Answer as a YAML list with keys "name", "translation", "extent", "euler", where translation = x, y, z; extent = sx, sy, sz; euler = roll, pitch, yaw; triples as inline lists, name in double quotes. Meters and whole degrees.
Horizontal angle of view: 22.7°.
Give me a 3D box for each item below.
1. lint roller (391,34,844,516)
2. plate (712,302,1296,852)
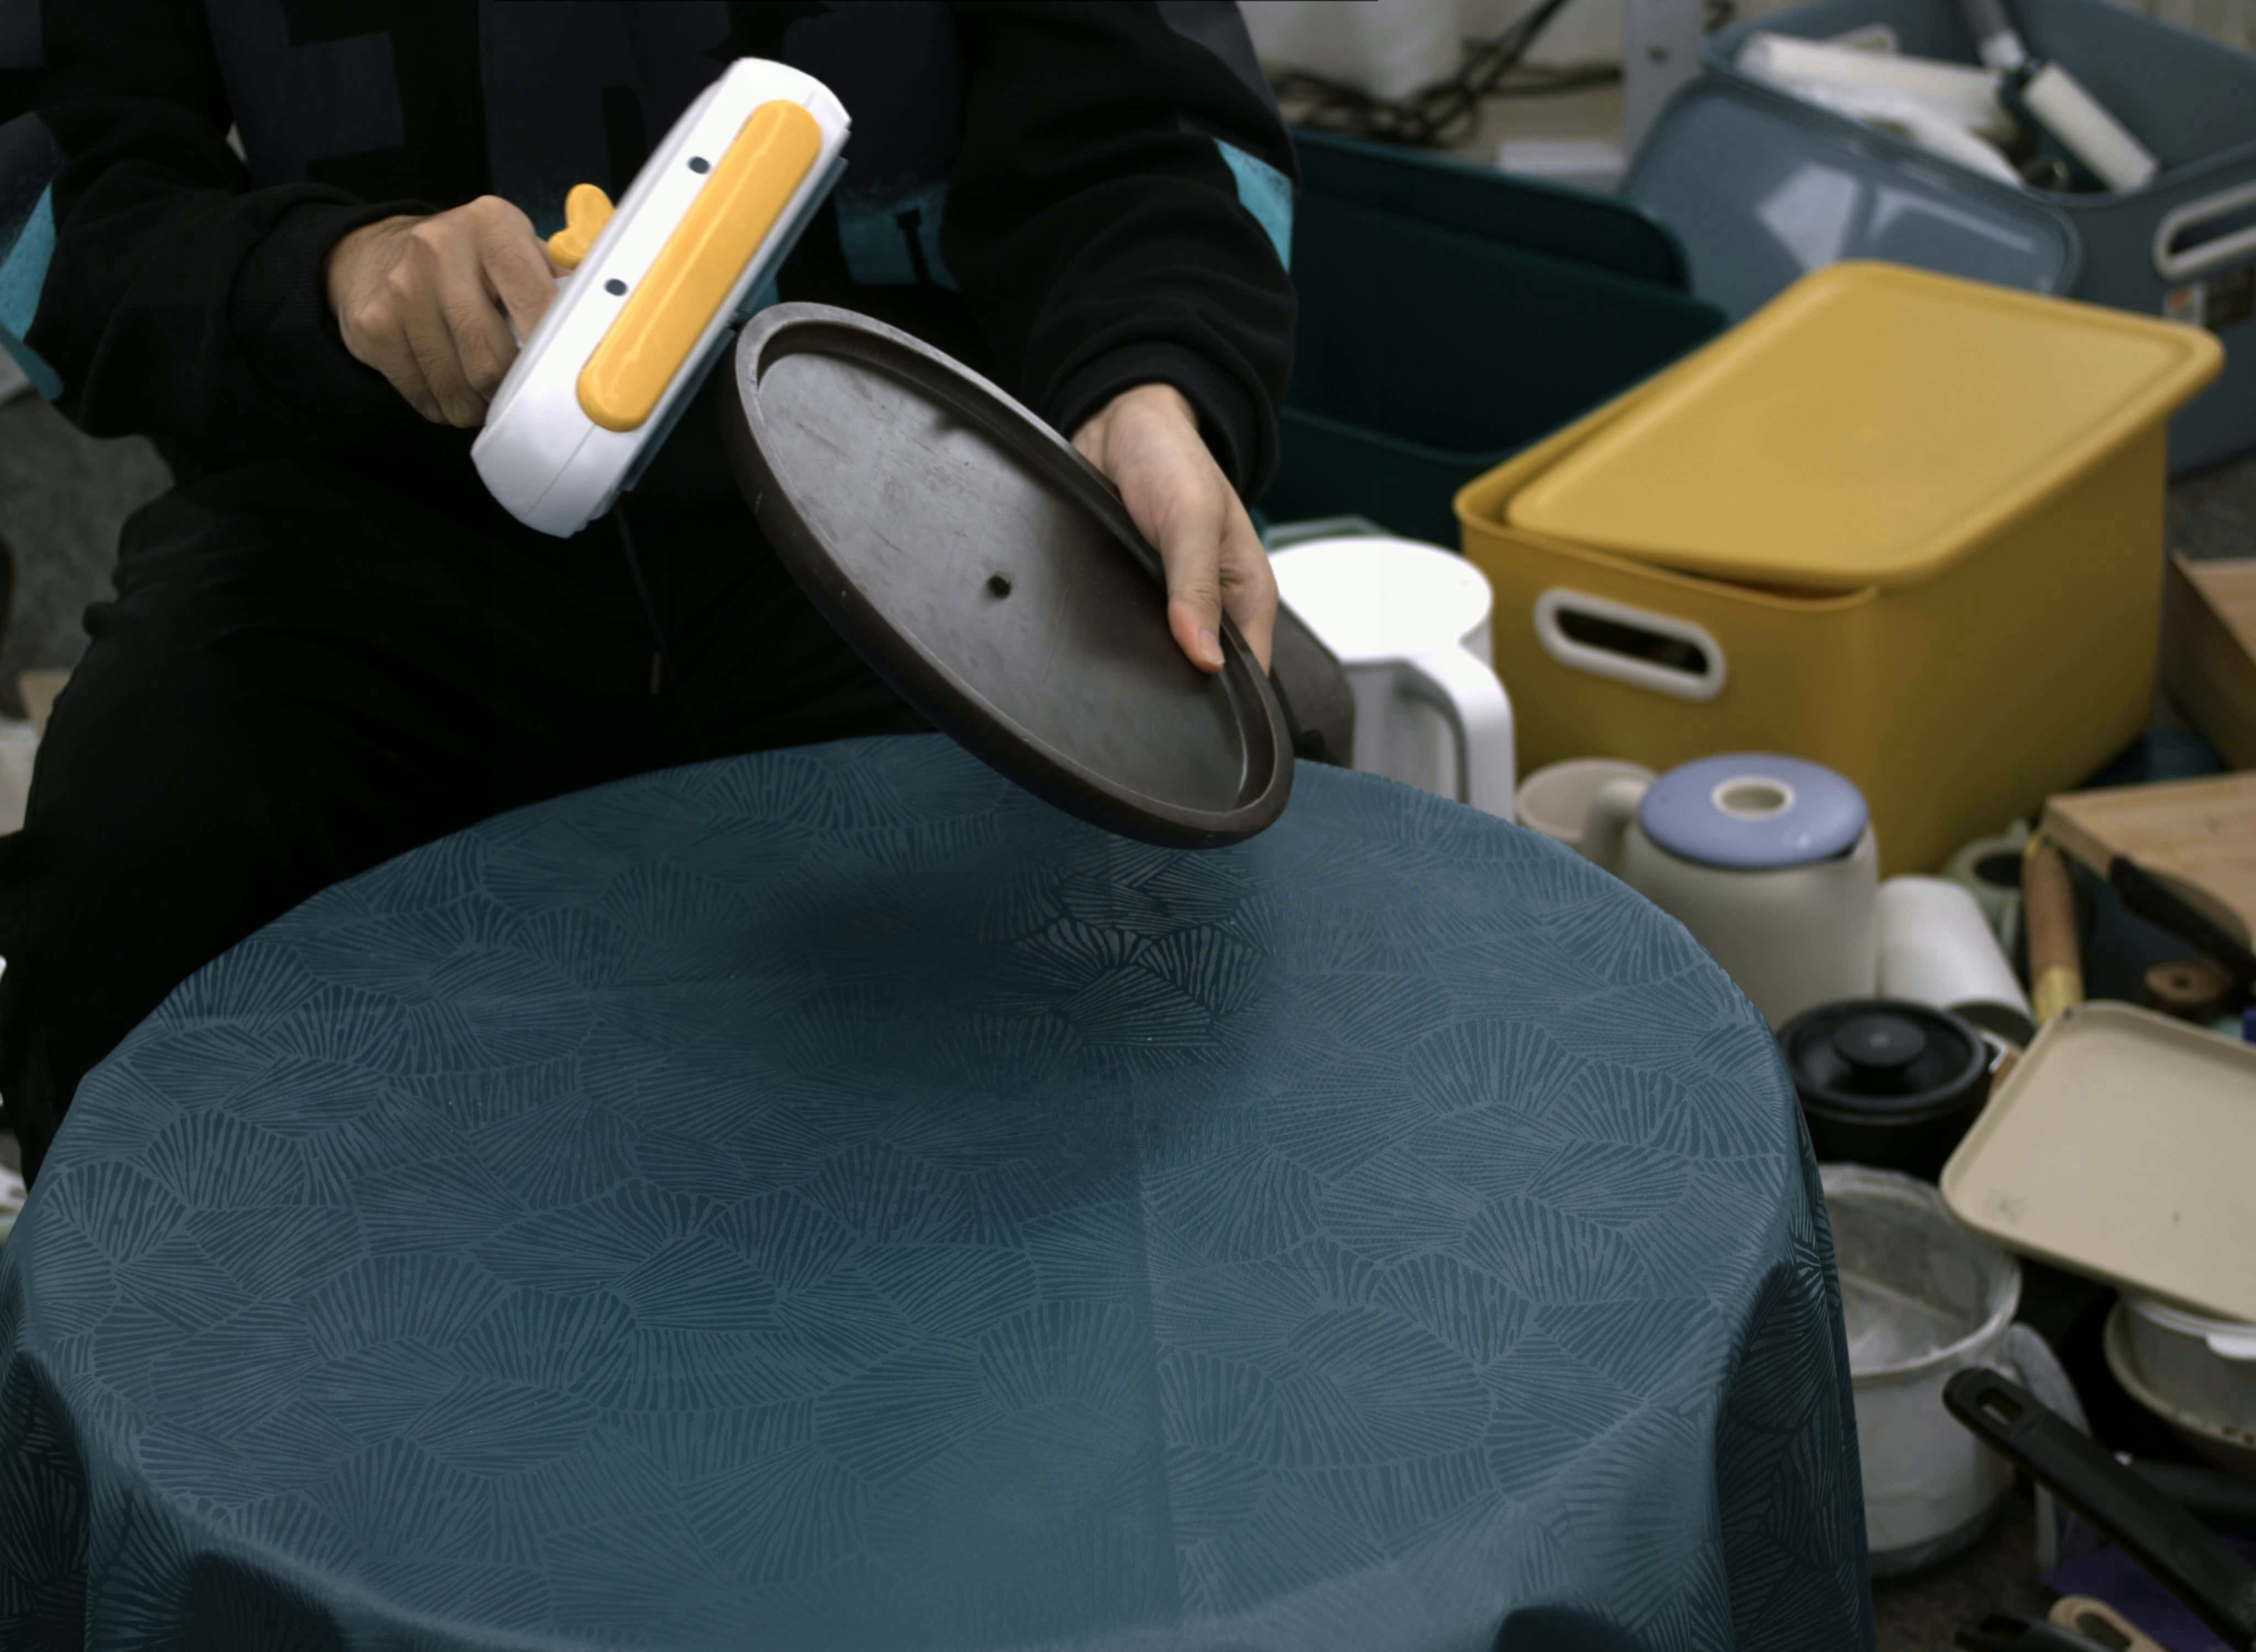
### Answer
- name: "lint roller"
  translation: [-0.193, -0.178, 1.974]
  extent: [0.189, 0.074, 0.196]
  euler: [-28, 33, 54]
- name: "plate"
  translation: [-0.043, -0.085, 1.948]
  extent: [0.254, 0.029, 0.258]
  euler: [36, 22, -16]
